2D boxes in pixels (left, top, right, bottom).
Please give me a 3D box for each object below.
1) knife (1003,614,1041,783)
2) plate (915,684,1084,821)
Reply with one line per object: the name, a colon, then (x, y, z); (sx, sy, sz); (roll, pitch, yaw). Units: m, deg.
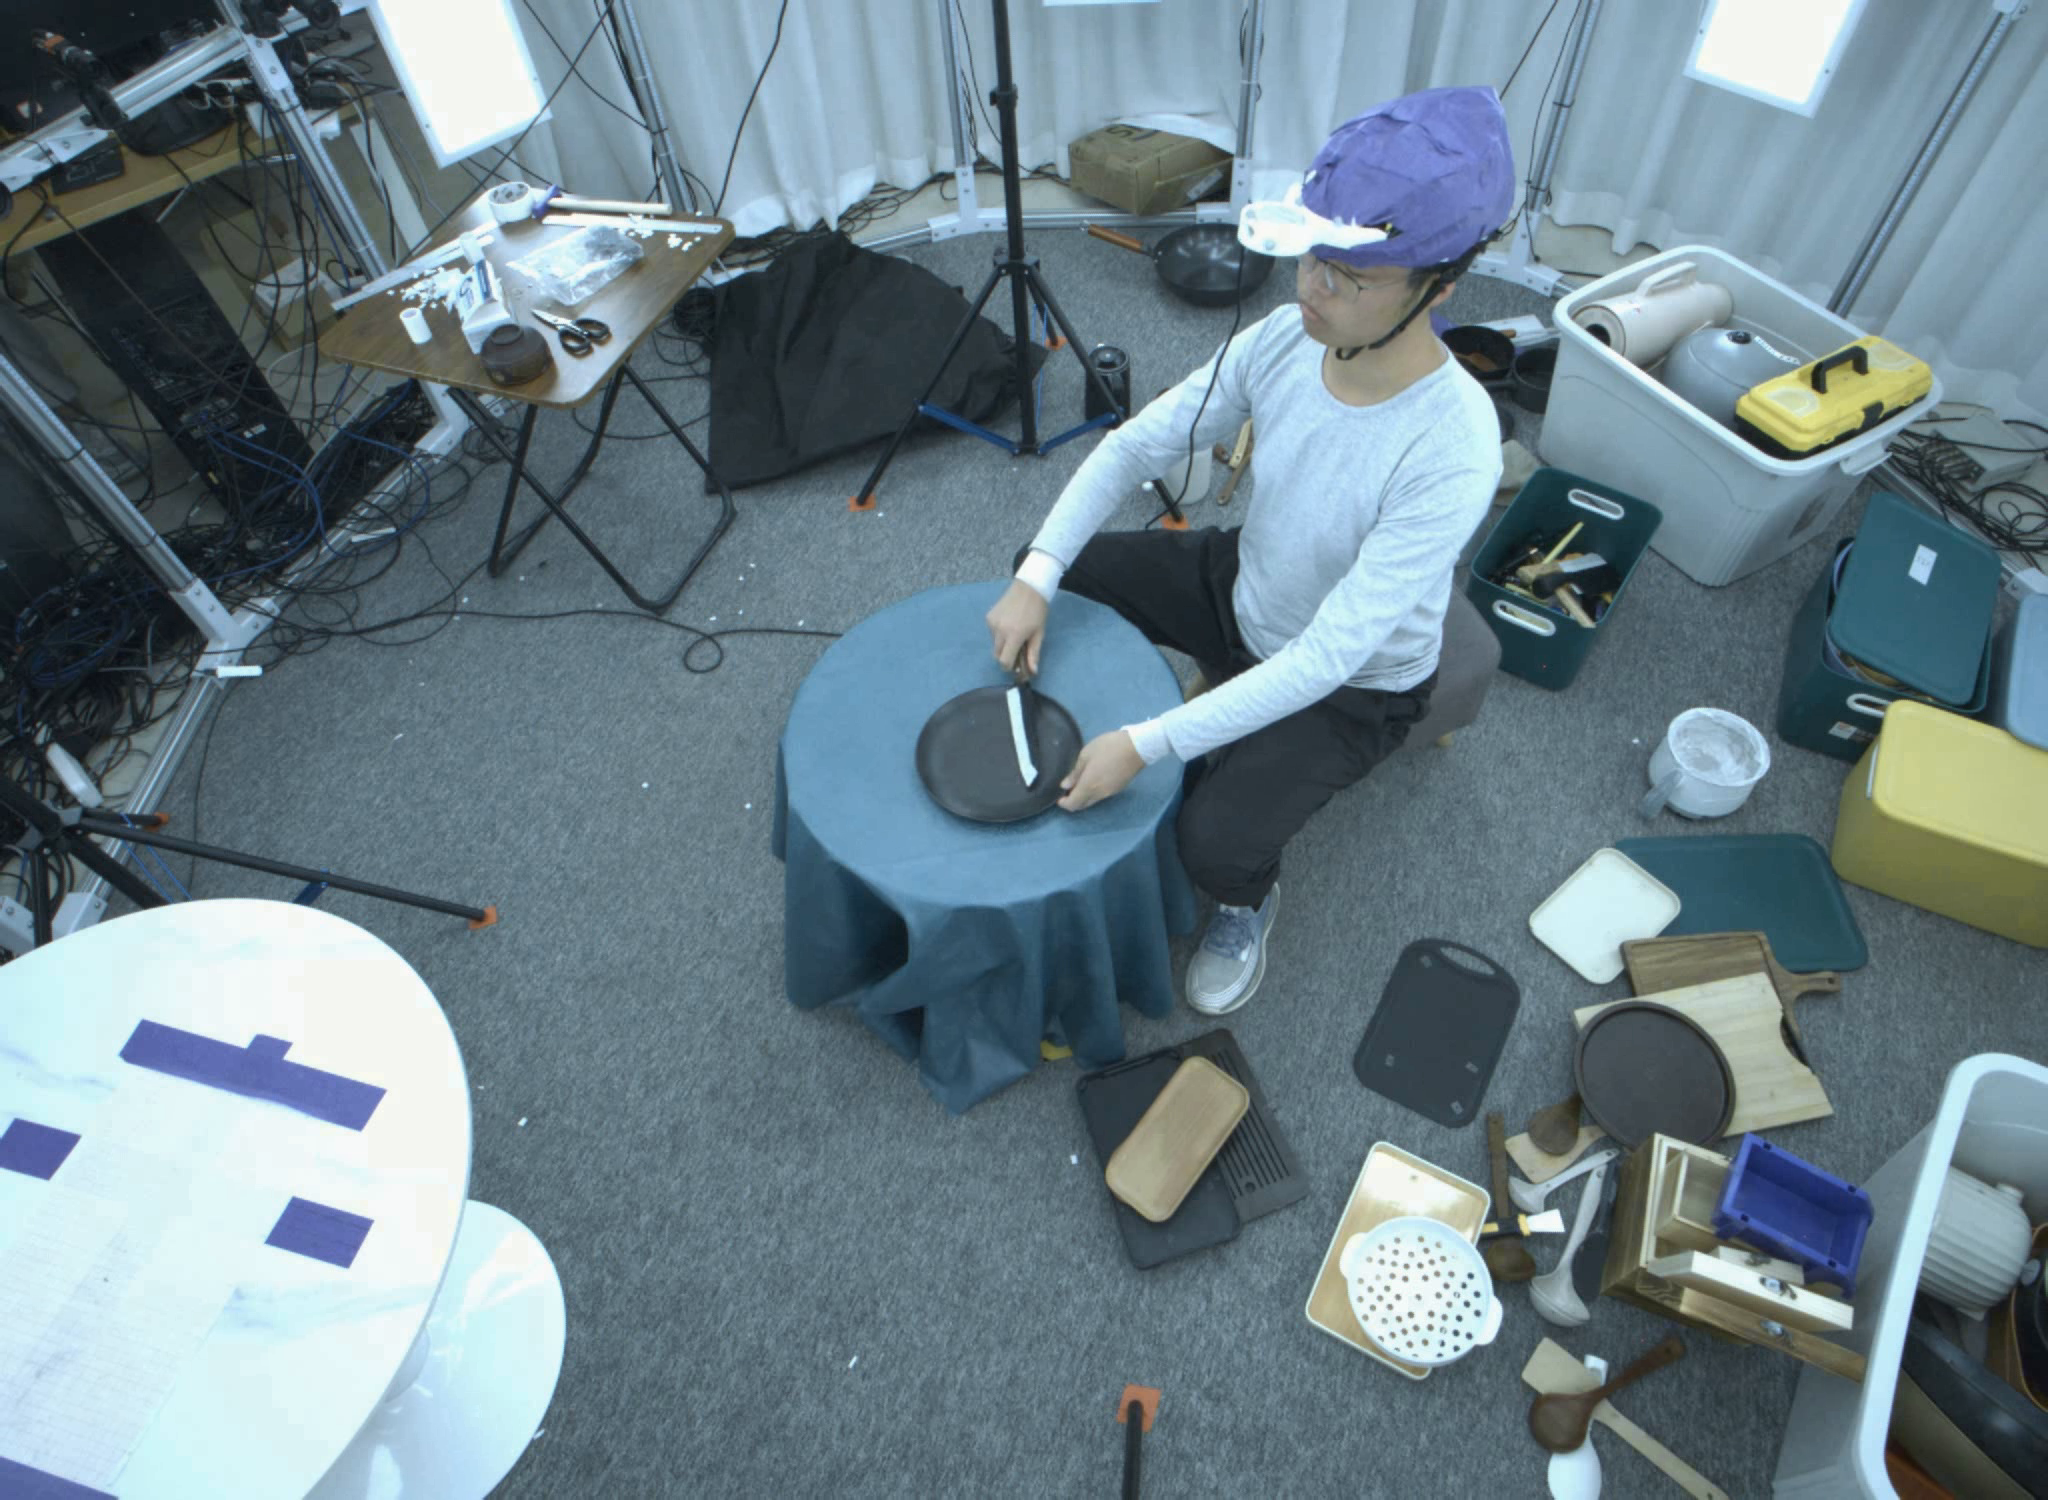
knife: (-0.005, -0.079, 1.802); (0.049, 0.020, 0.286); (-26, 56, 32)
plate: (-0.036, 0.005, 1.778); (0.244, 0.023, 0.242); (0, 54, 1)
